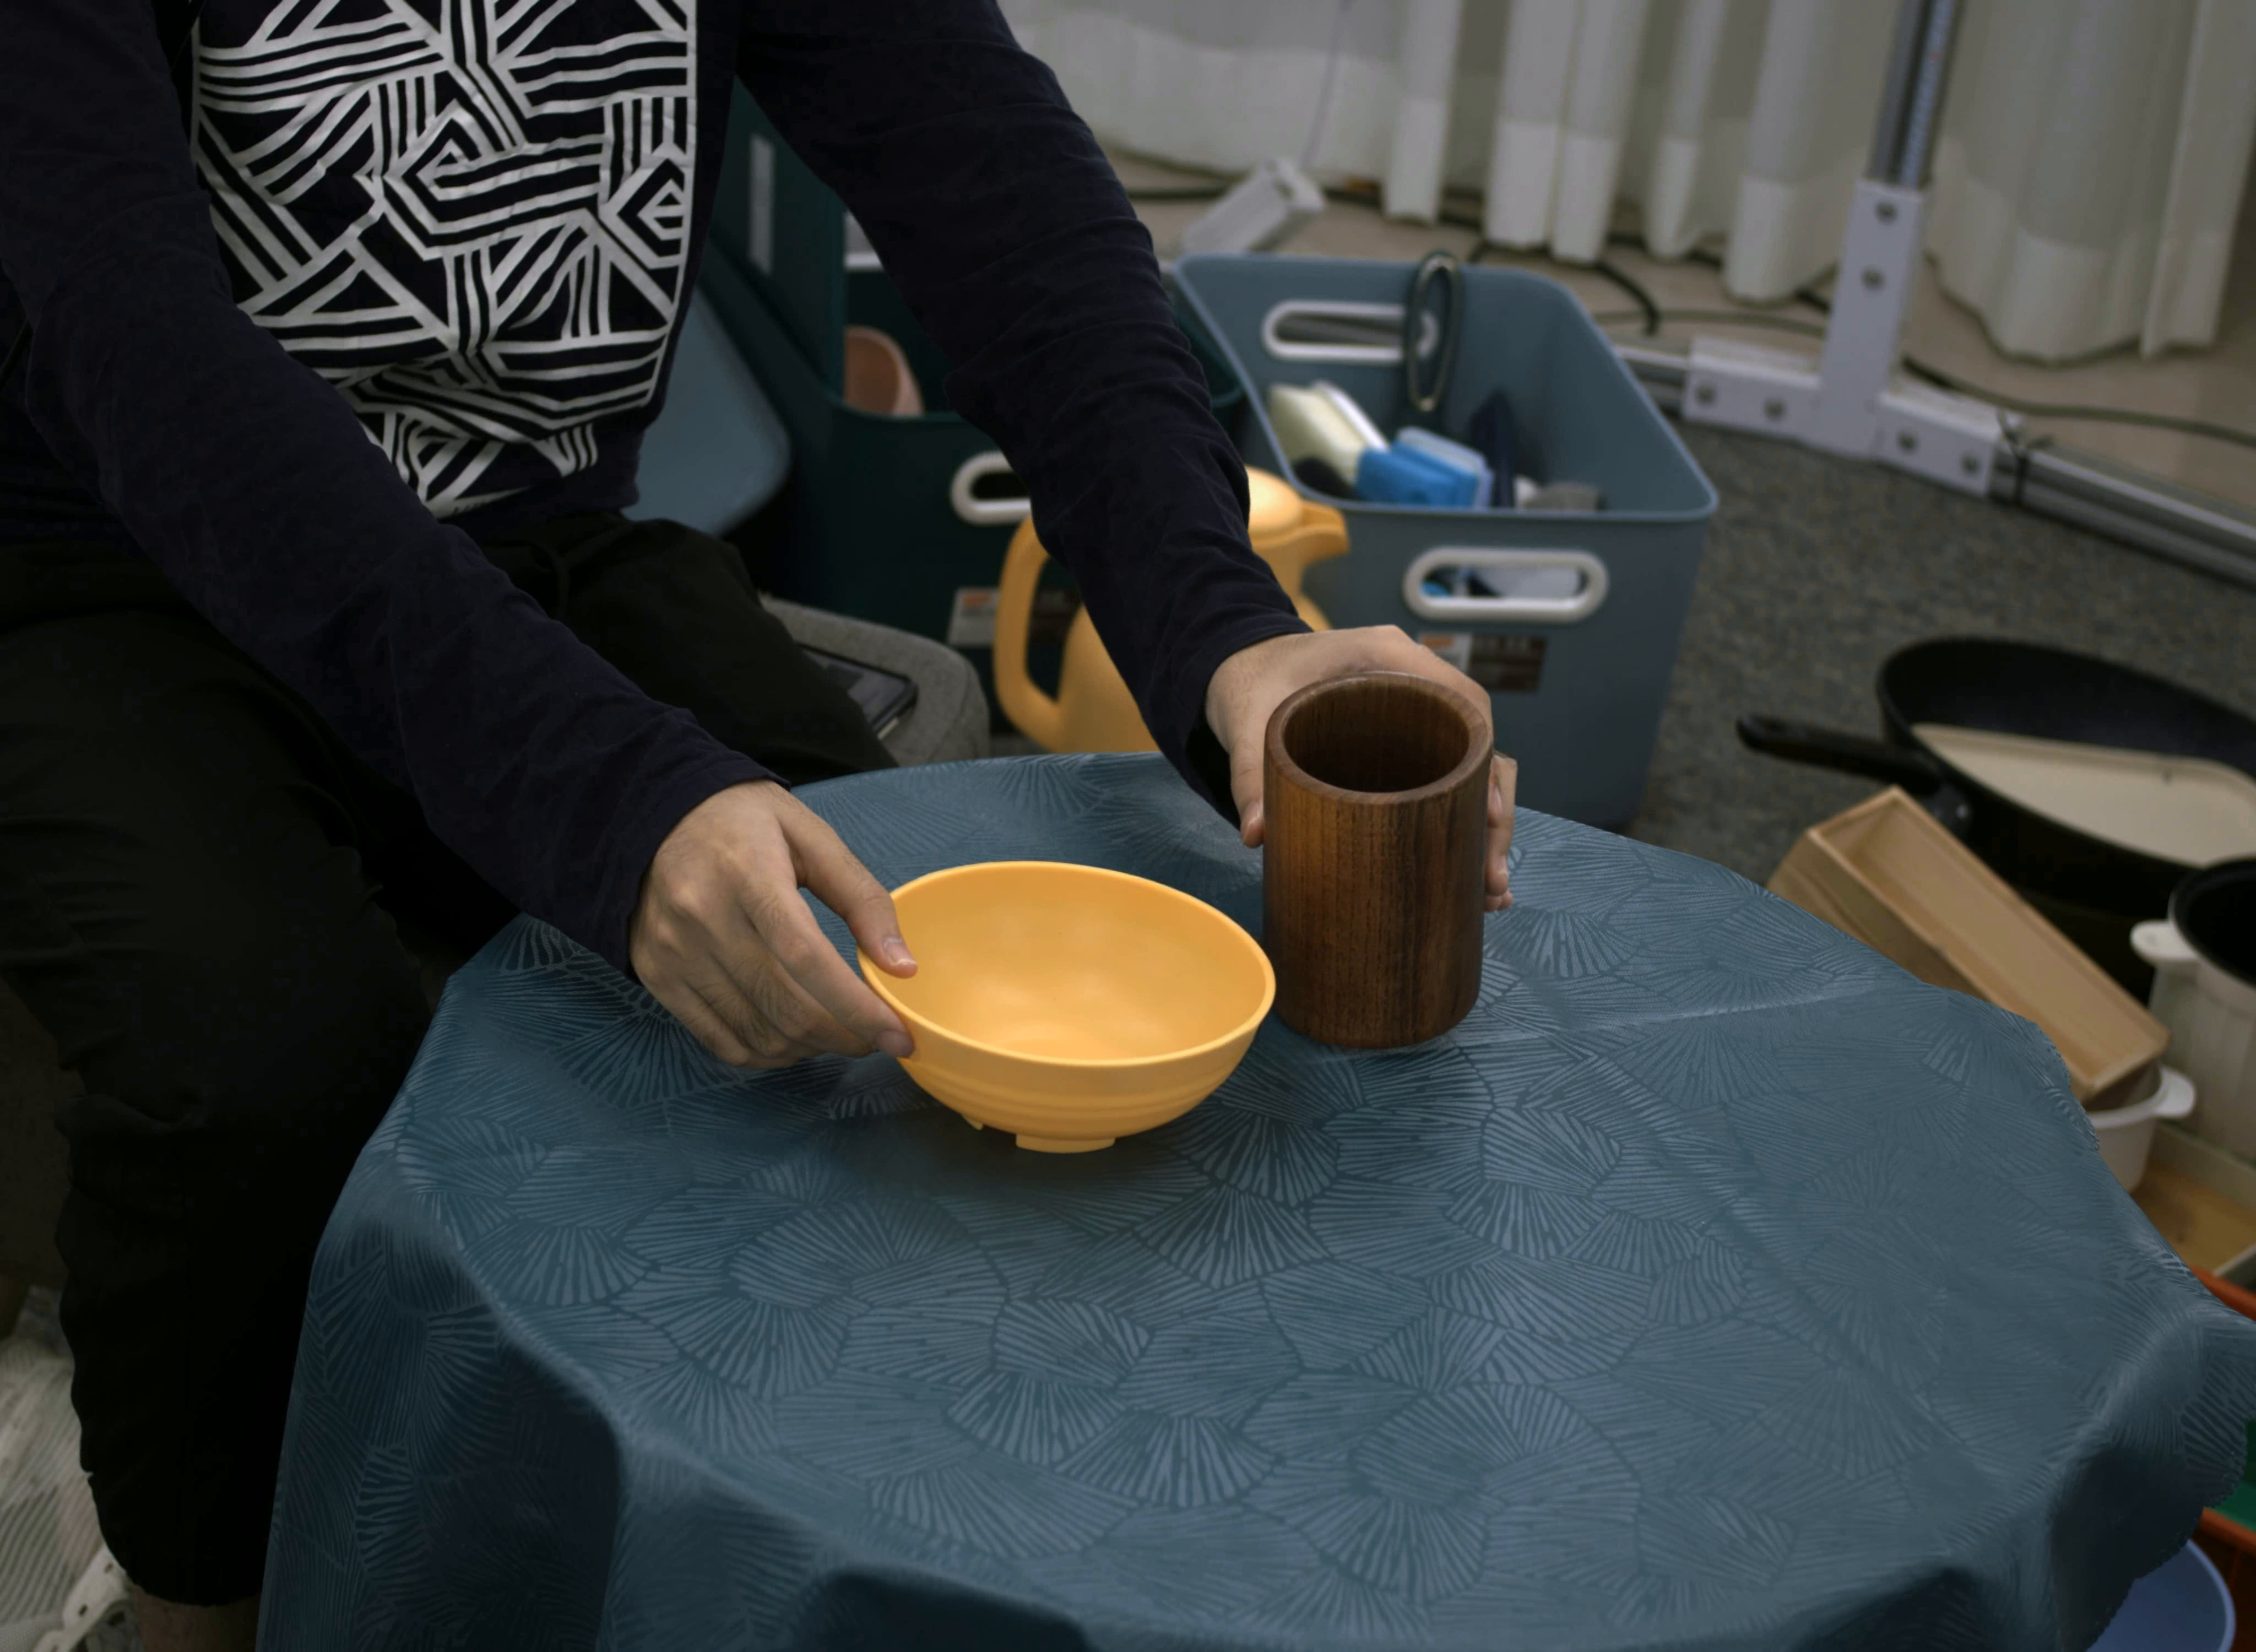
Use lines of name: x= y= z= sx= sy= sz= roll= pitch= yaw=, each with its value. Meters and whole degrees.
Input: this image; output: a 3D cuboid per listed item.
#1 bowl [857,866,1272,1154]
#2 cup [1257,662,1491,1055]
bowl: x=-0.025 y=0.072 z=1.838 sx=0.145 sy=0.060 sz=0.146 roll=6 pitch=25 yaw=-3
cup: x=0.086 y=0.012 z=1.896 sx=0.087 sy=0.118 sz=0.088 roll=0 pitch=35 yaw=0
